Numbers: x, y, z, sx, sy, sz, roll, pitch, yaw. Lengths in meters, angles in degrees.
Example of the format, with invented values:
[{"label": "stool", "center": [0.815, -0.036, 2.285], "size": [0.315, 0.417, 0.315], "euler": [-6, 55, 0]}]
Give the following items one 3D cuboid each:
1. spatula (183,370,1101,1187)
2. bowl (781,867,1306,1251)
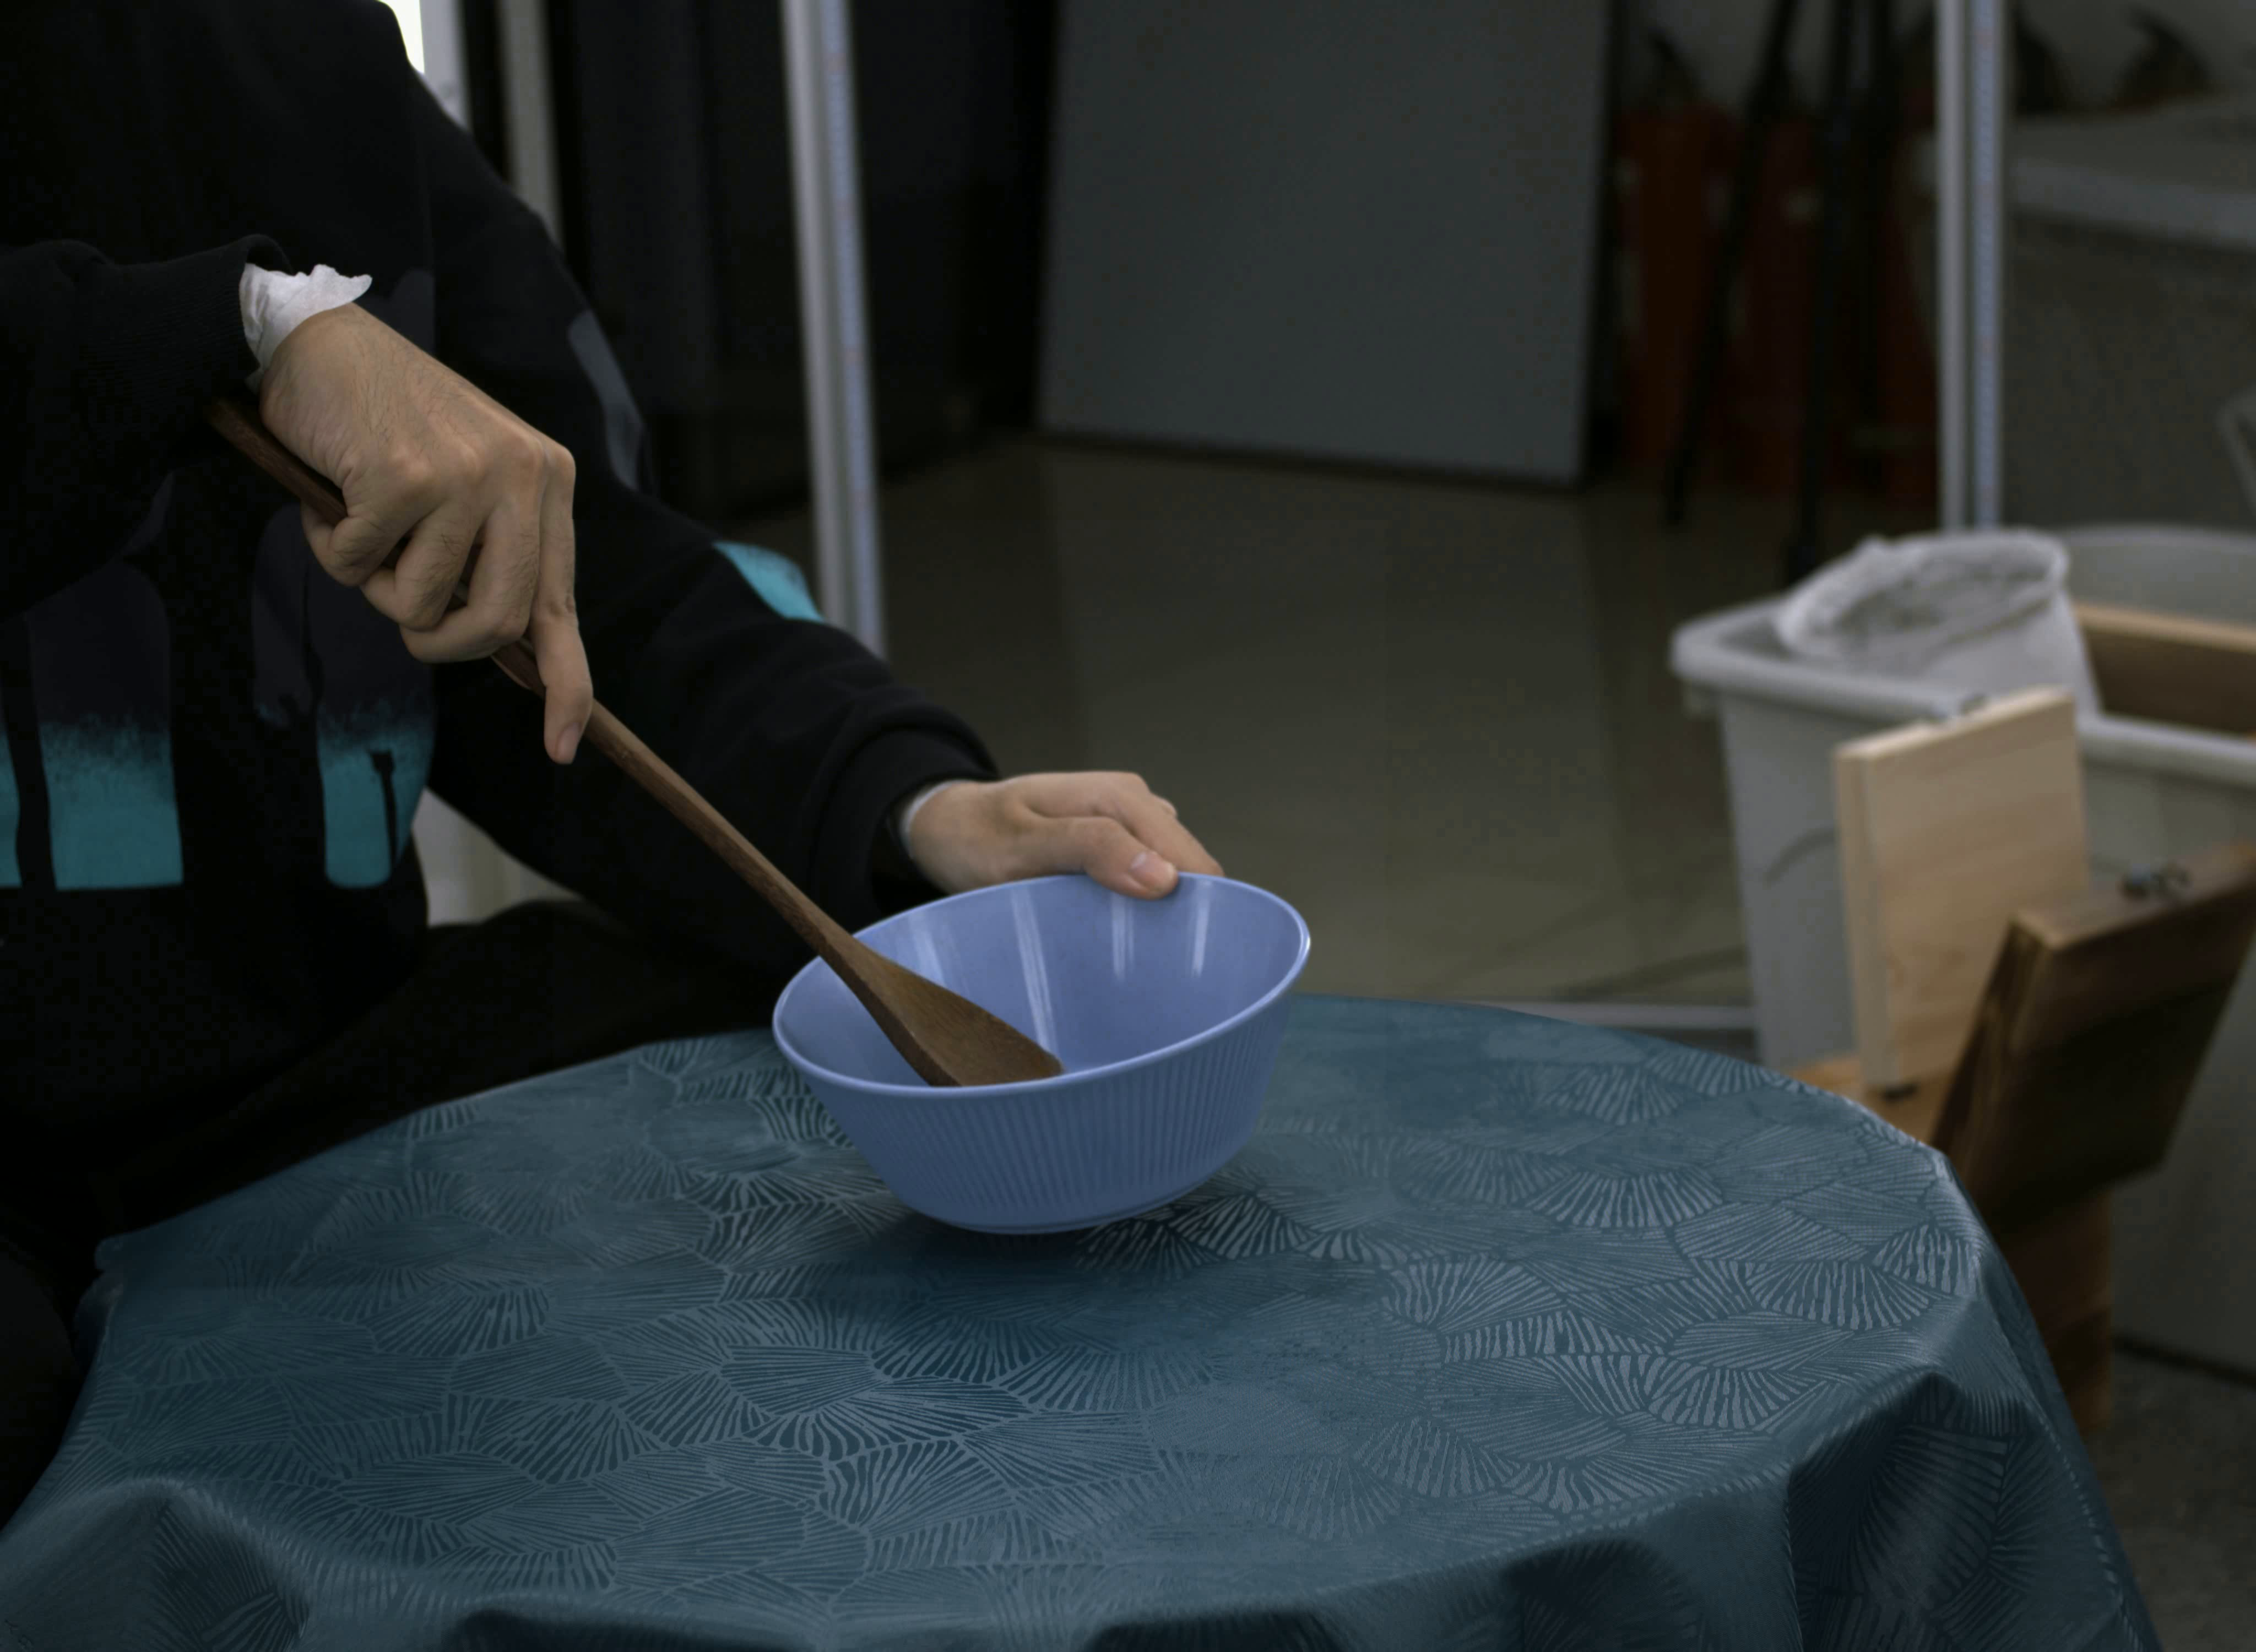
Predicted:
[{"label": "spatula", "center": [-0.147, -0.016, 1.707], "size": [0.016, 0.384, 0.096], "euler": [-47, 5, 12]}, {"label": "bowl", "center": [-0.021, 0.081, 1.738], "size": [0.174, 0.071, 0.176], "euler": [-13, 22, 4]}]
